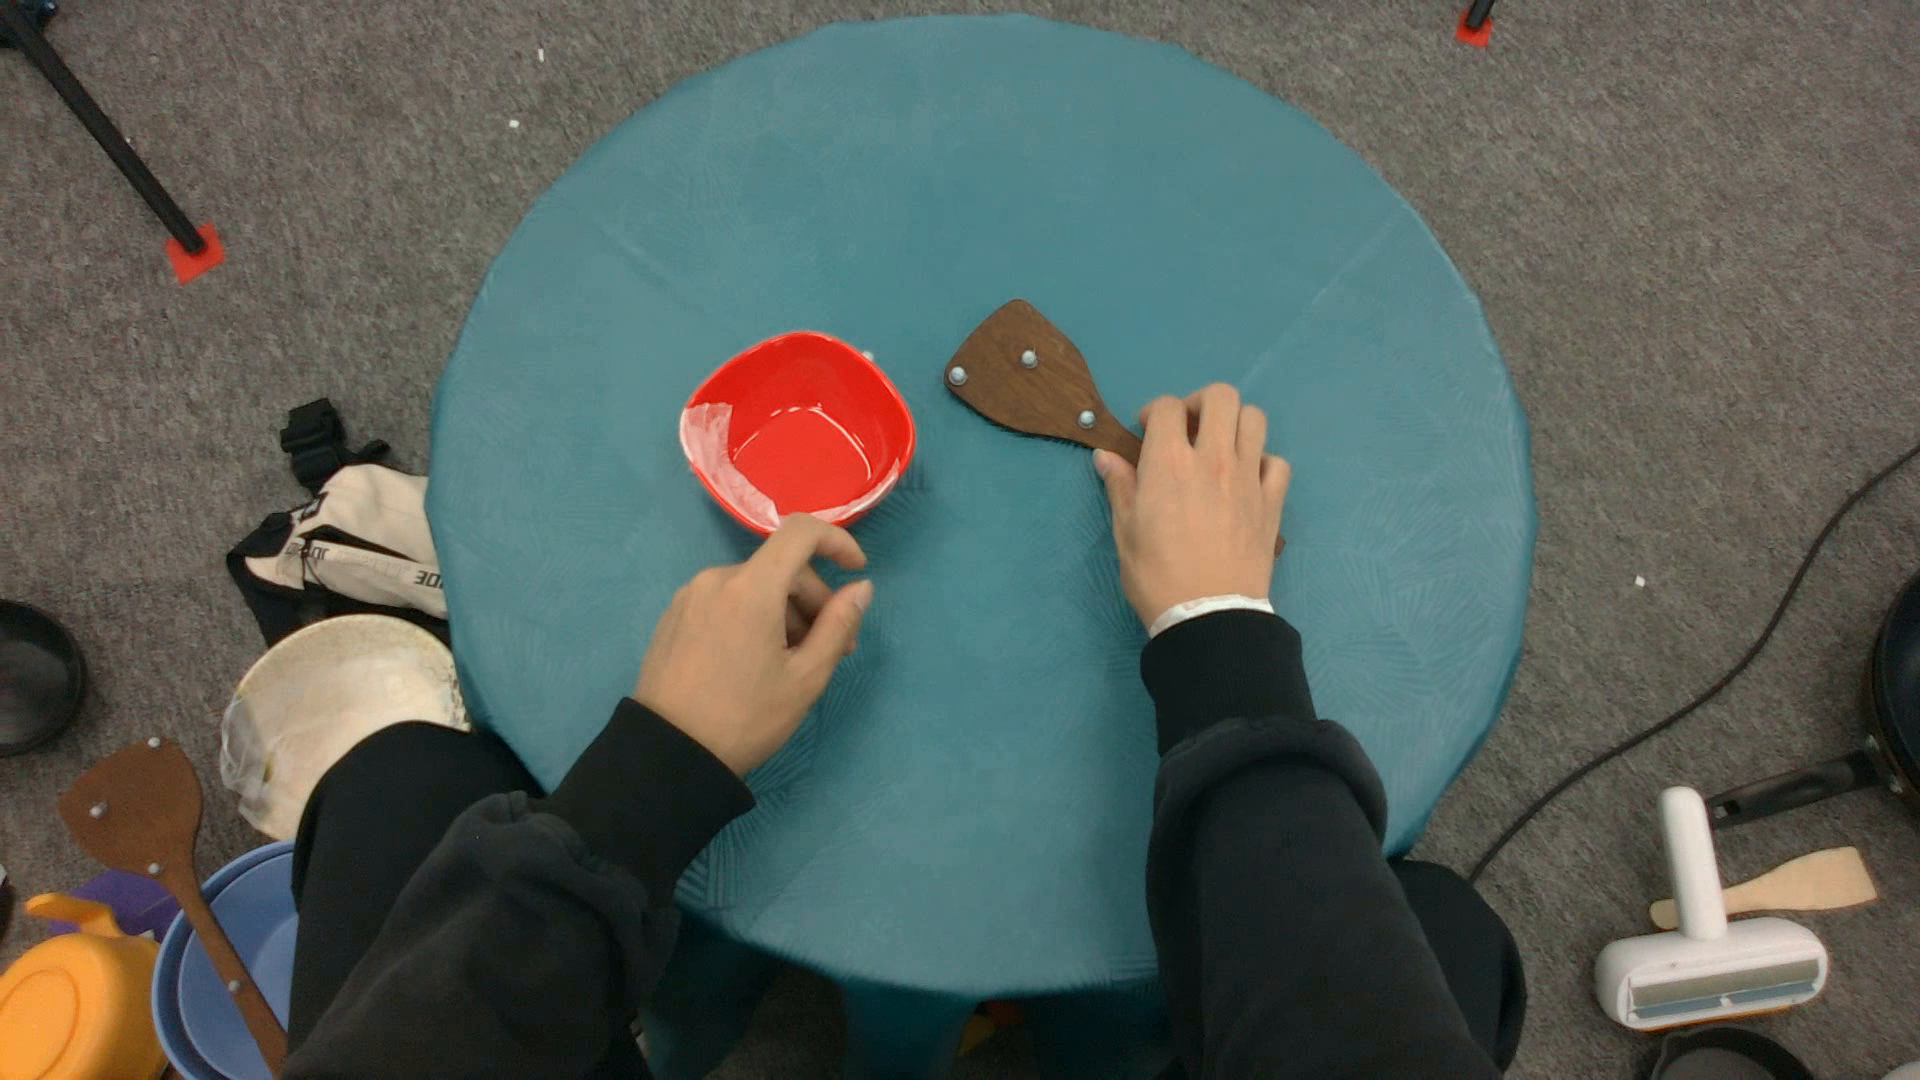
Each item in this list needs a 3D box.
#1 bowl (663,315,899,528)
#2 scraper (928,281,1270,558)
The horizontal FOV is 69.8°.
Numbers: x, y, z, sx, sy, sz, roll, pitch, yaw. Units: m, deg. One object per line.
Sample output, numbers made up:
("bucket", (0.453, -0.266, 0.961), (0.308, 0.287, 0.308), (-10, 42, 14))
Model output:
("bowl", (-0.091, -0.054, 0.715), (0.119, 0.051, 0.119), (2, 64, -4))
("scraper", (0.079, -0.061, 0.753), (0.211, 0.011, 0.076), (39, 70, 12))
